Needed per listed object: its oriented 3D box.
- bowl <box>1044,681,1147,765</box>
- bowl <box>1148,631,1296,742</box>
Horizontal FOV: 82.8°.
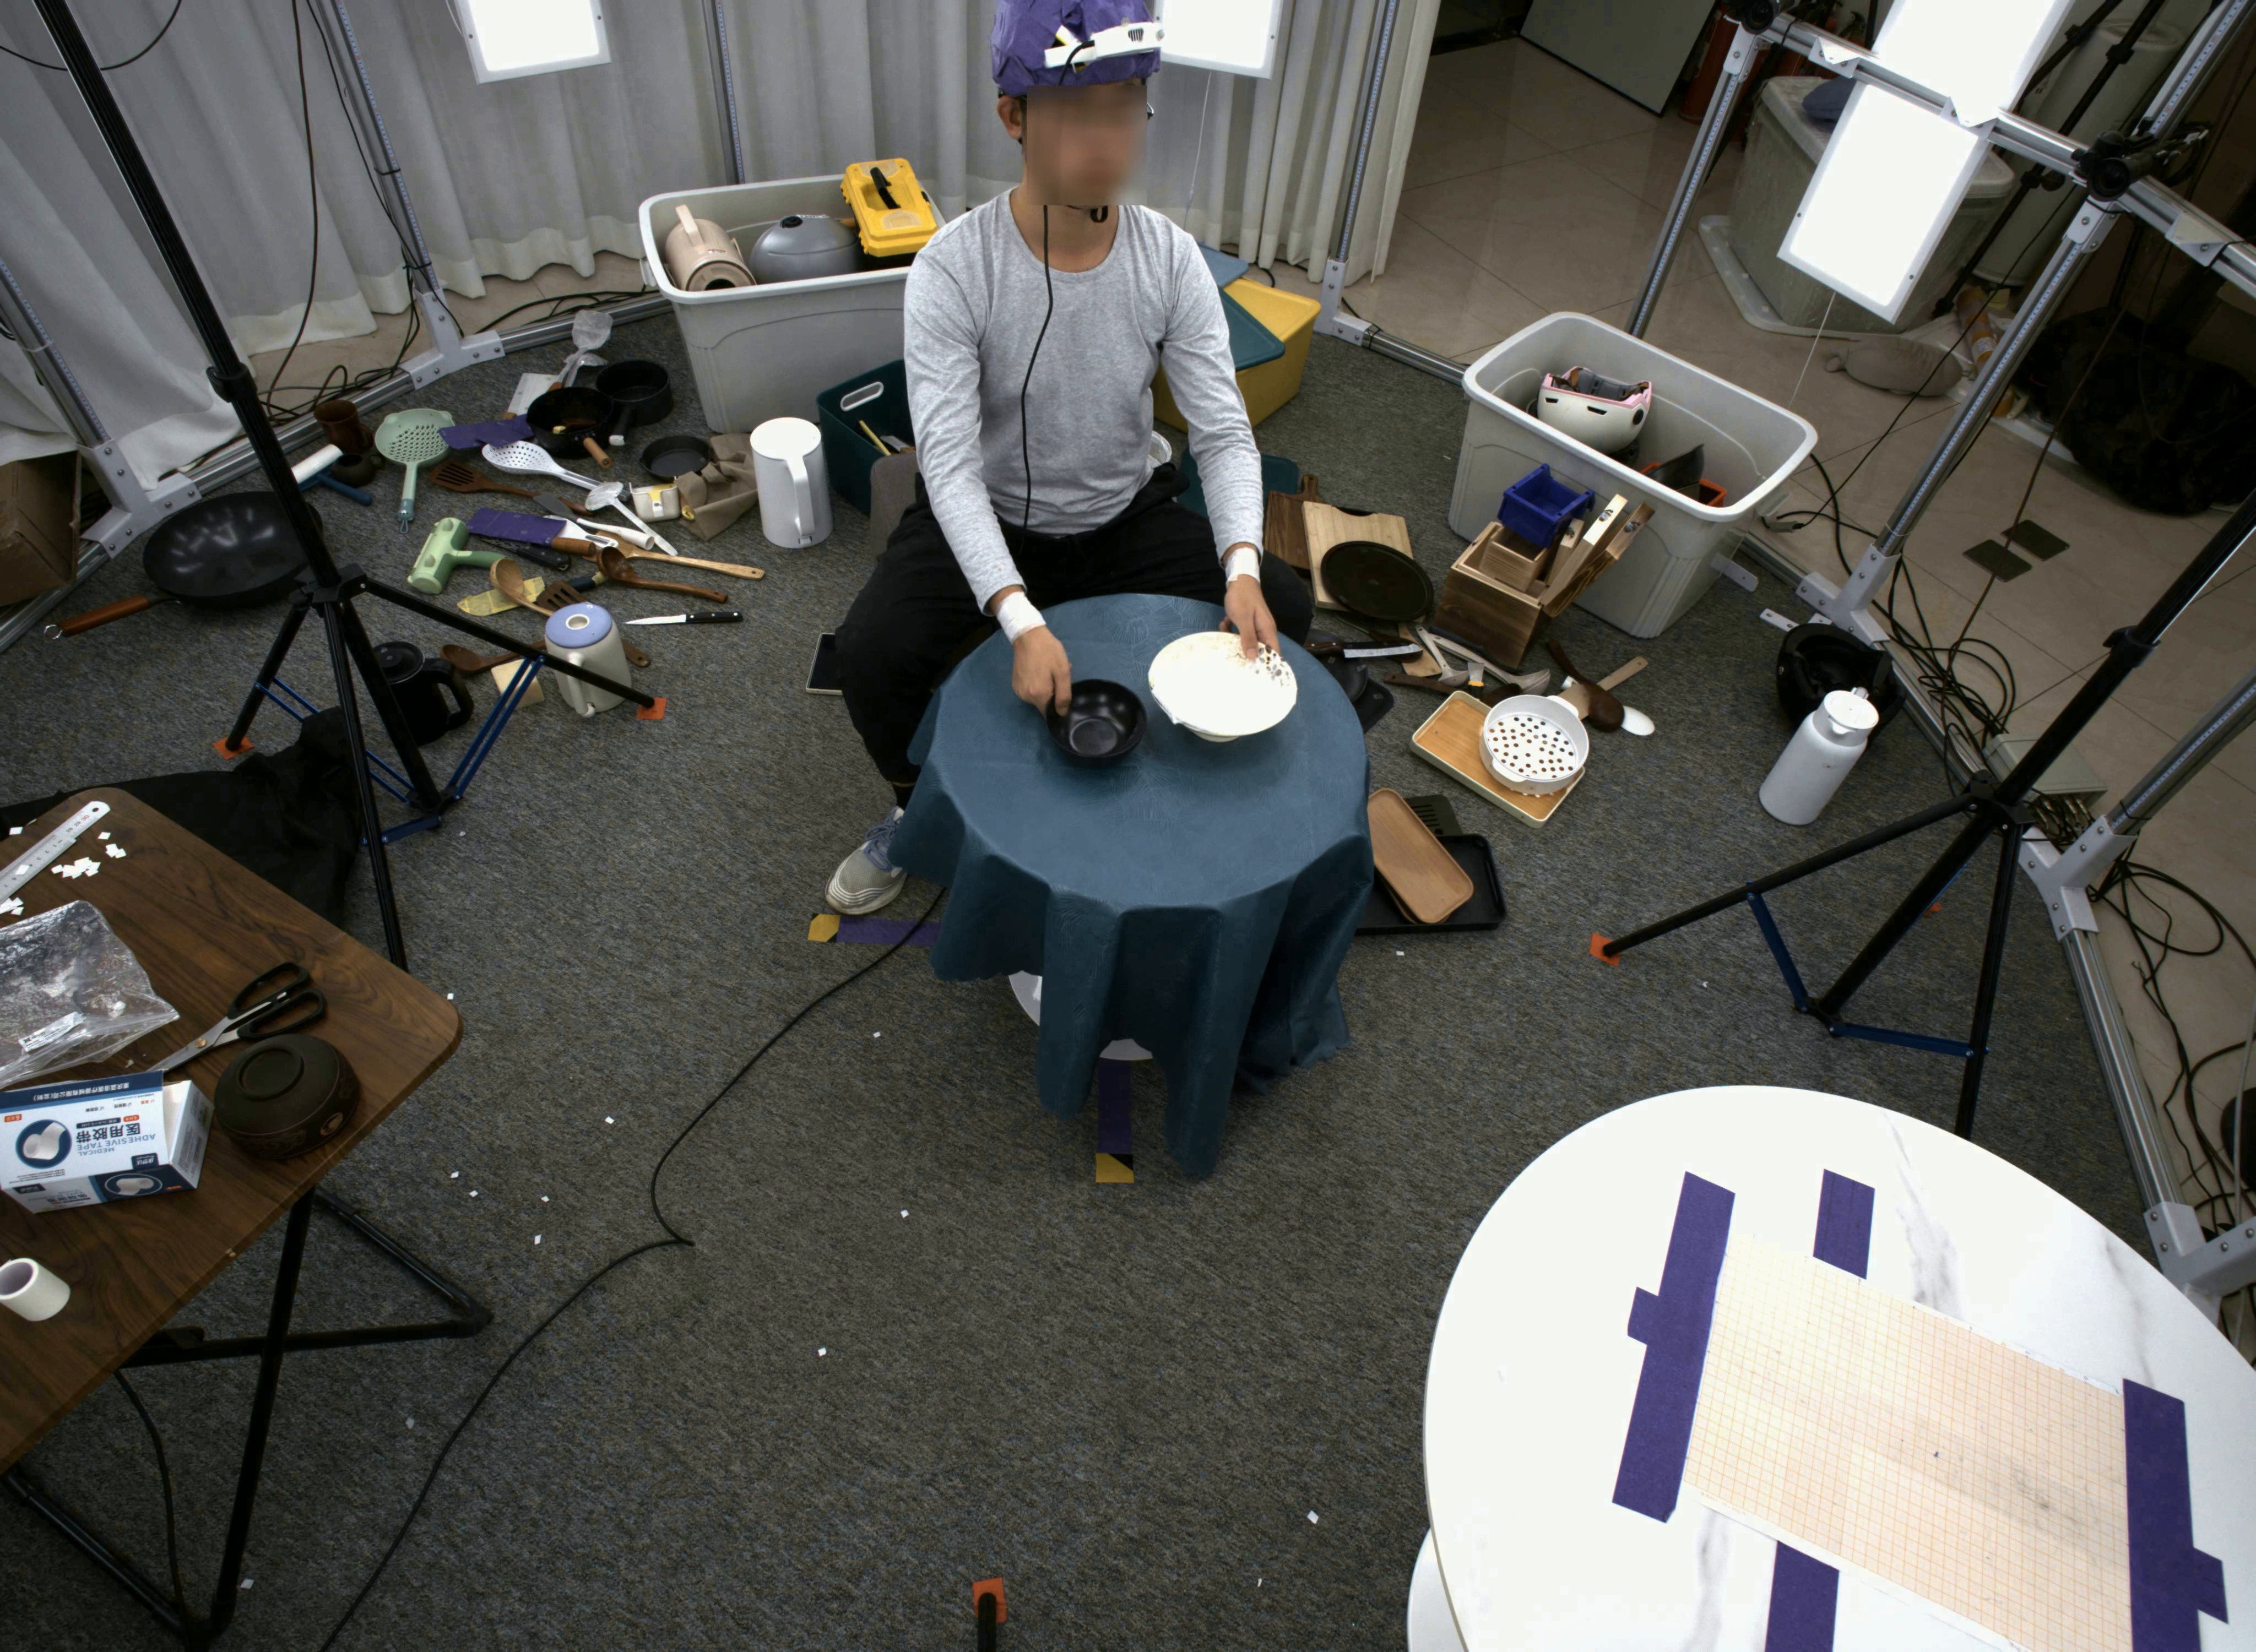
[{"bbox_3d":[-0.044,-0.131,1.744,0.140,0.048,0.143,1,50,-2],"label":"bowl"},{"bbox_3d":[0.126,-0.174,1.776,0.204,0.076,0.209,2,48,-3],"label":"bowl"}]
